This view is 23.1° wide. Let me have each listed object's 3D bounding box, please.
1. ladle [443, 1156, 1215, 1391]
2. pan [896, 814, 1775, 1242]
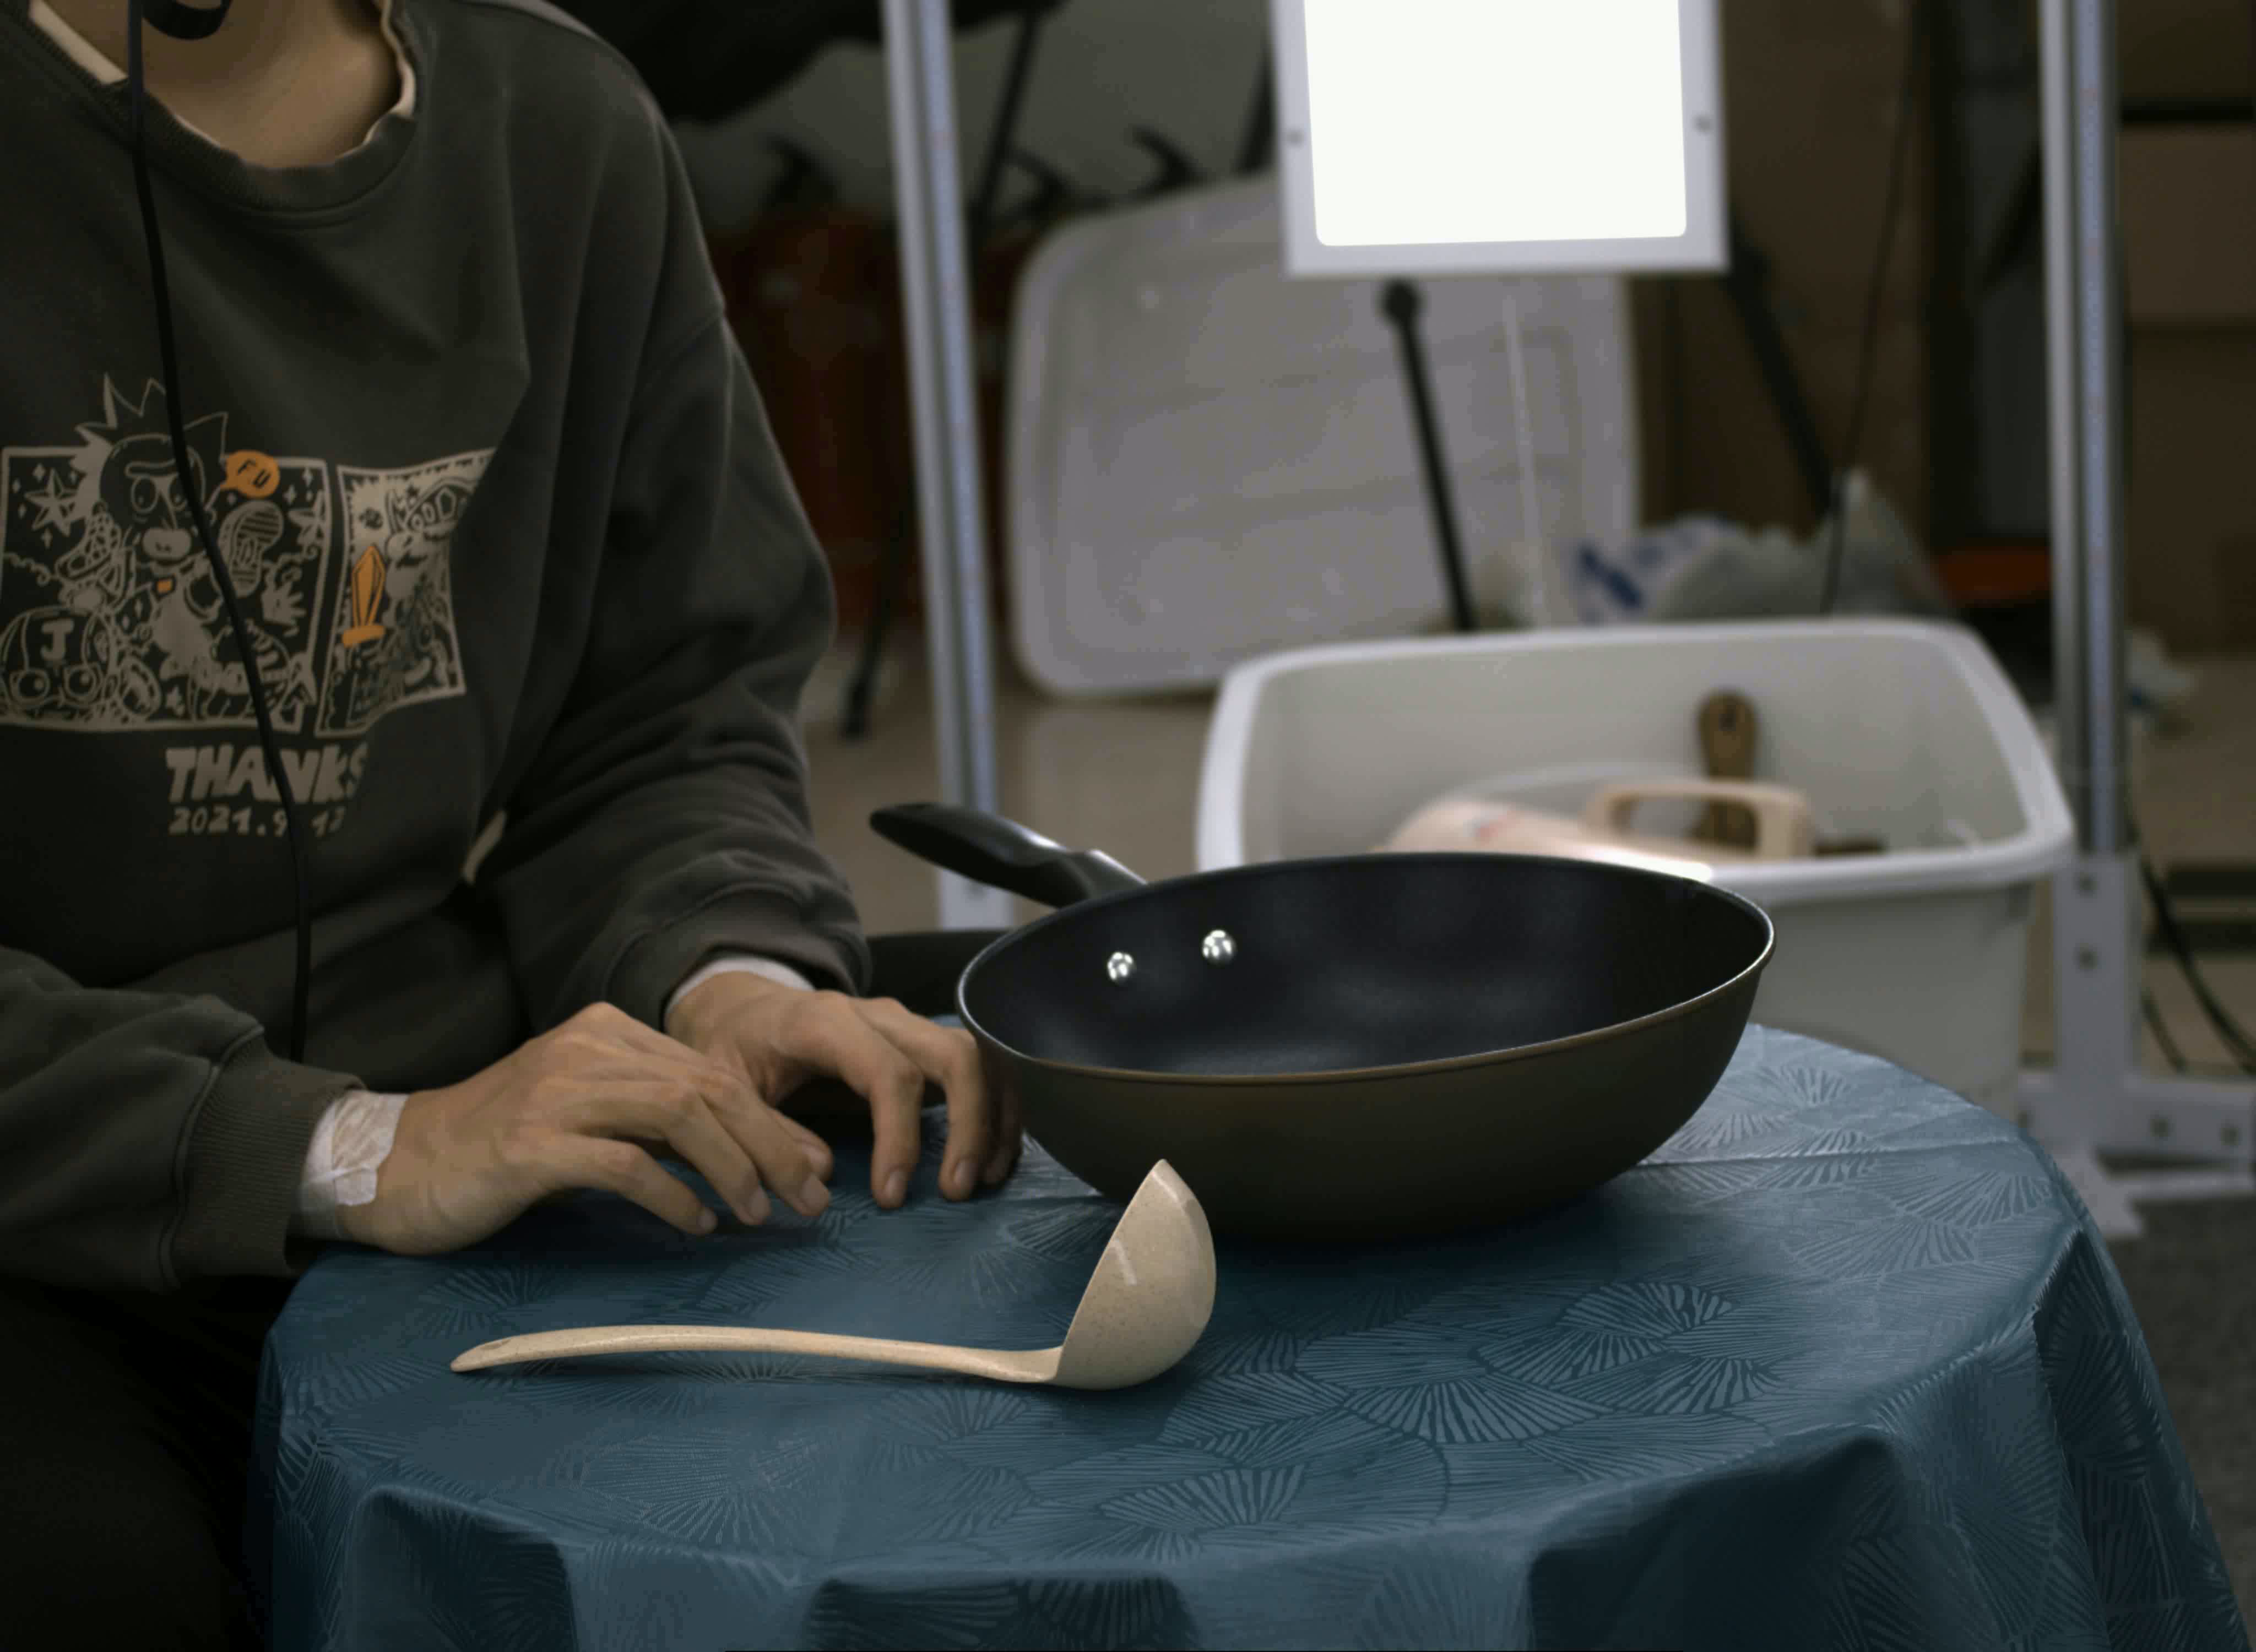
[{"bbox_3d":[-0.099,0.139,1.729,0.257,0.073,0.071,-1,20,16],"label":"ladle"},{"bbox_3d":[0.034,0.067,1.953,0.281,0.087,0.472,-13,15,-29],"label":"pan"}]
